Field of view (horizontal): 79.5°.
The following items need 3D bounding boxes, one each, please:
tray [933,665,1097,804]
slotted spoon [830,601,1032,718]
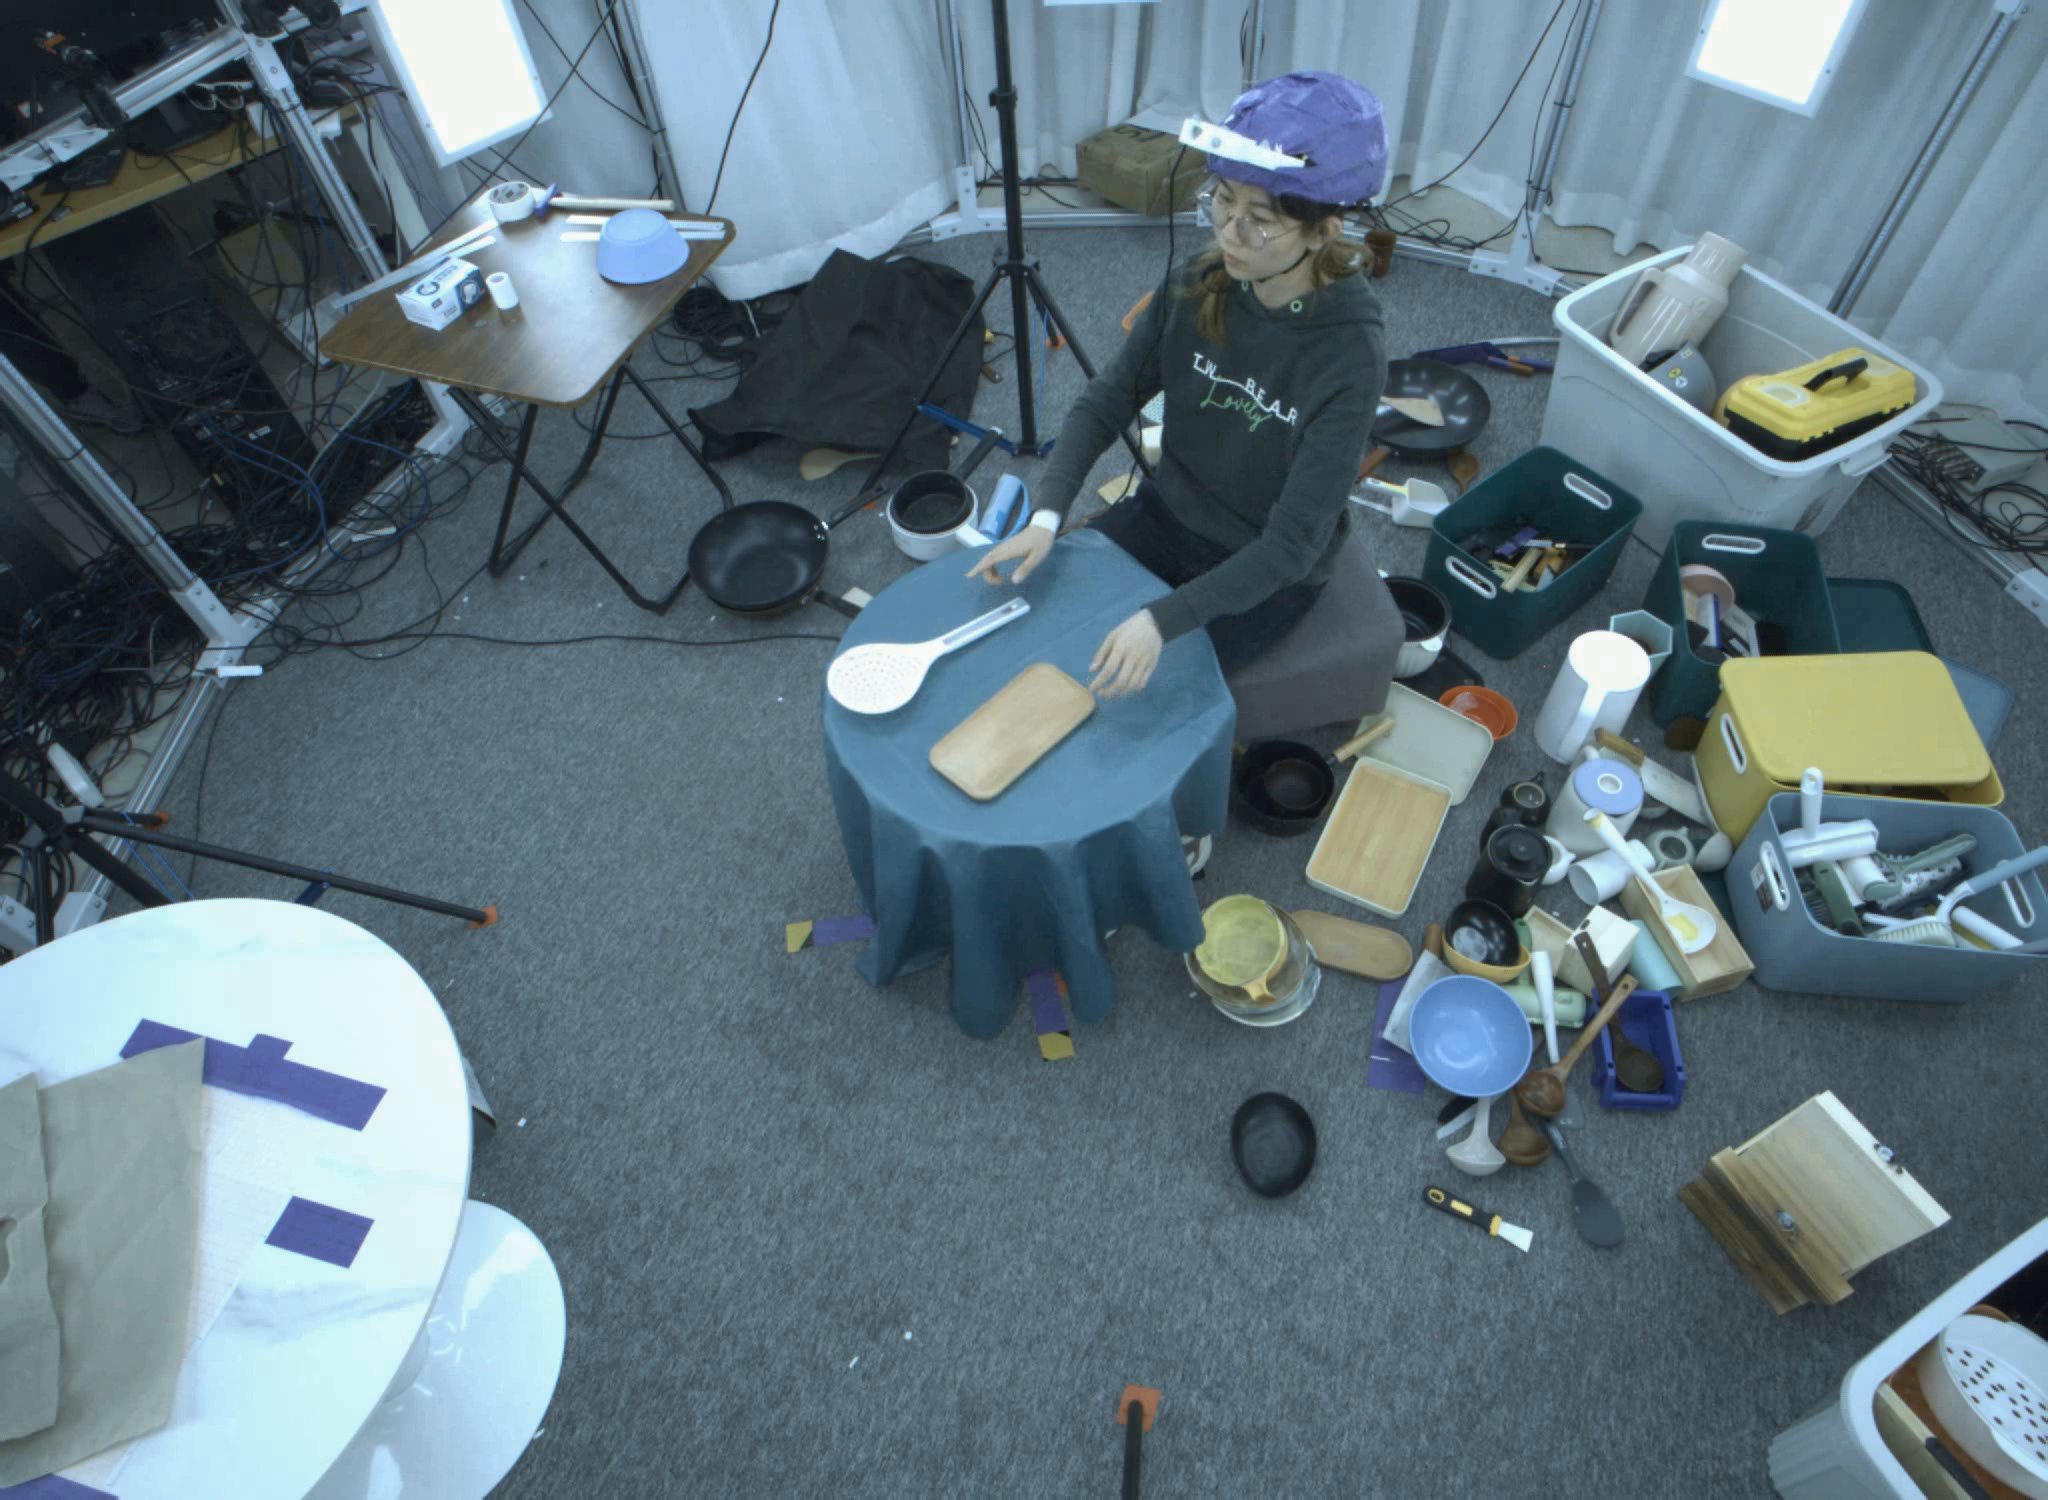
[{"bbox_3d":[-0.011,-0.025,1.805,0.128,0.023,0.252,39,63,23],"label":"tray"},{"bbox_3d":[-0.135,-0.148,1.878,0.352,0.046,0.134,-32,63,-20],"label":"slotted spoon"}]
